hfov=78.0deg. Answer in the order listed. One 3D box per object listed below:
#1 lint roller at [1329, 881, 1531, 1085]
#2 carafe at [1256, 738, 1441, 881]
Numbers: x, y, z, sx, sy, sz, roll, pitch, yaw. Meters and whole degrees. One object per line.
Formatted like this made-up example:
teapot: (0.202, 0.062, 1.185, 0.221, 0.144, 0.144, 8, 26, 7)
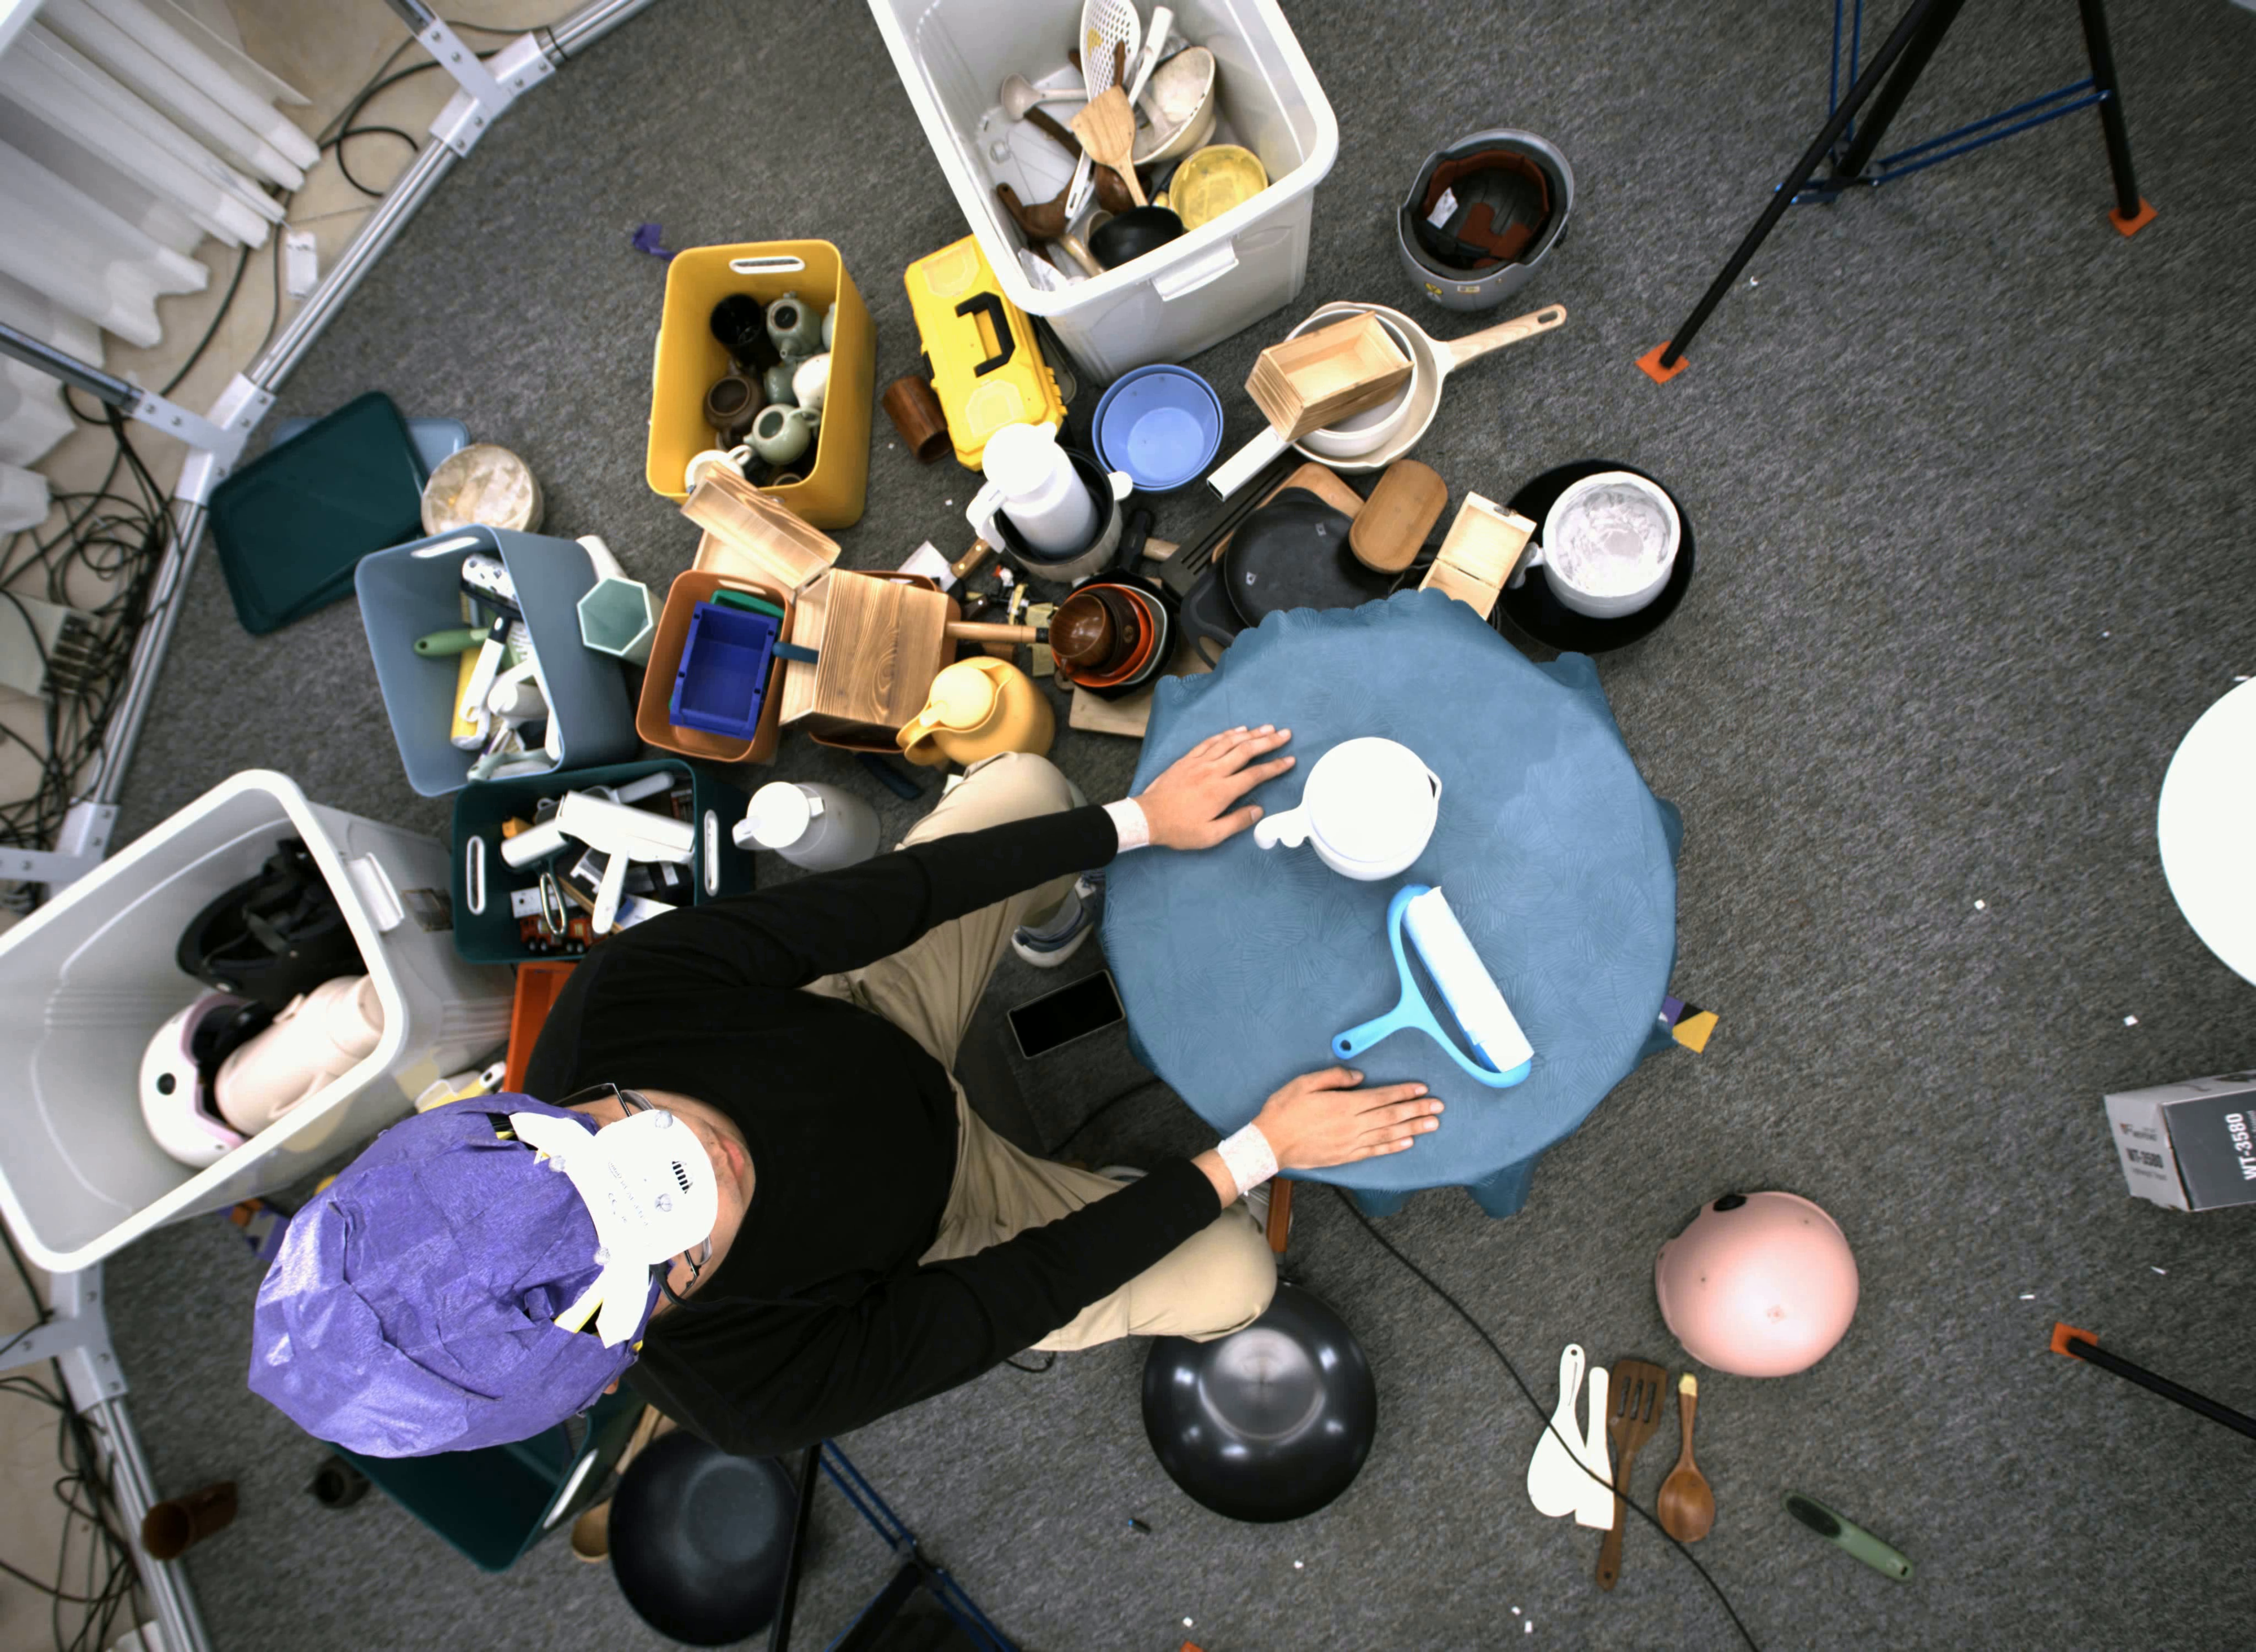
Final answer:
lint roller: (0.291, 0.188, 1.419, 0.180, 0.068, 0.228, -31, 85, 1)
carafe: (0.219, -0.009, 1.387, 0.192, 0.182, 0.131, -16, 82, 11)
